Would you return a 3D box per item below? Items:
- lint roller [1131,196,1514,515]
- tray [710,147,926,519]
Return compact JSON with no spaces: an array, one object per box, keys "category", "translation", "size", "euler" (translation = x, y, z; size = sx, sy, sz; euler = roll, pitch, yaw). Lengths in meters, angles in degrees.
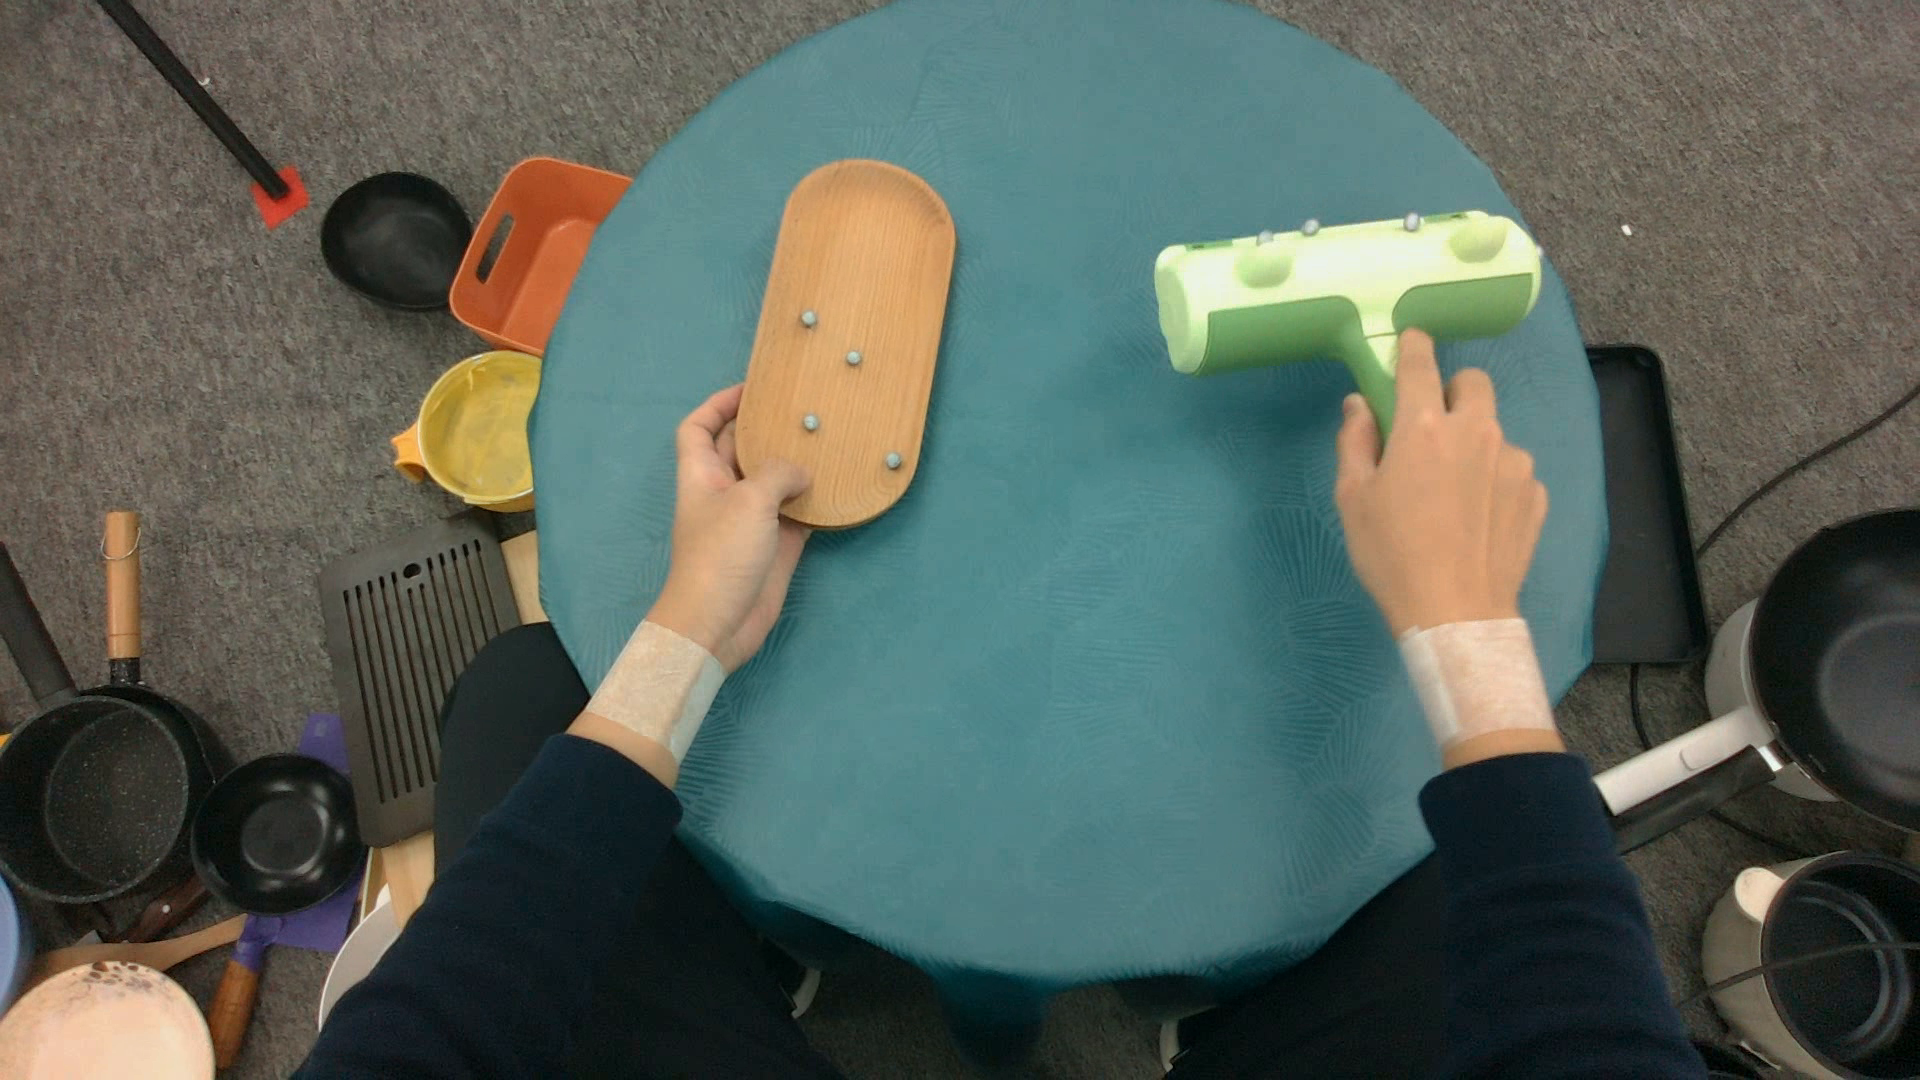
[{"category":"lint roller","translation":[0.204,-0.101,0.672],"size":[0.199,0.082,0.184],"euler":[-11,50,-12]},{"category":"tray","translation":[-0.077,-0.119,0.767],"size":[0.102,0.020,0.232],"euler":[10,67,-8]}]
